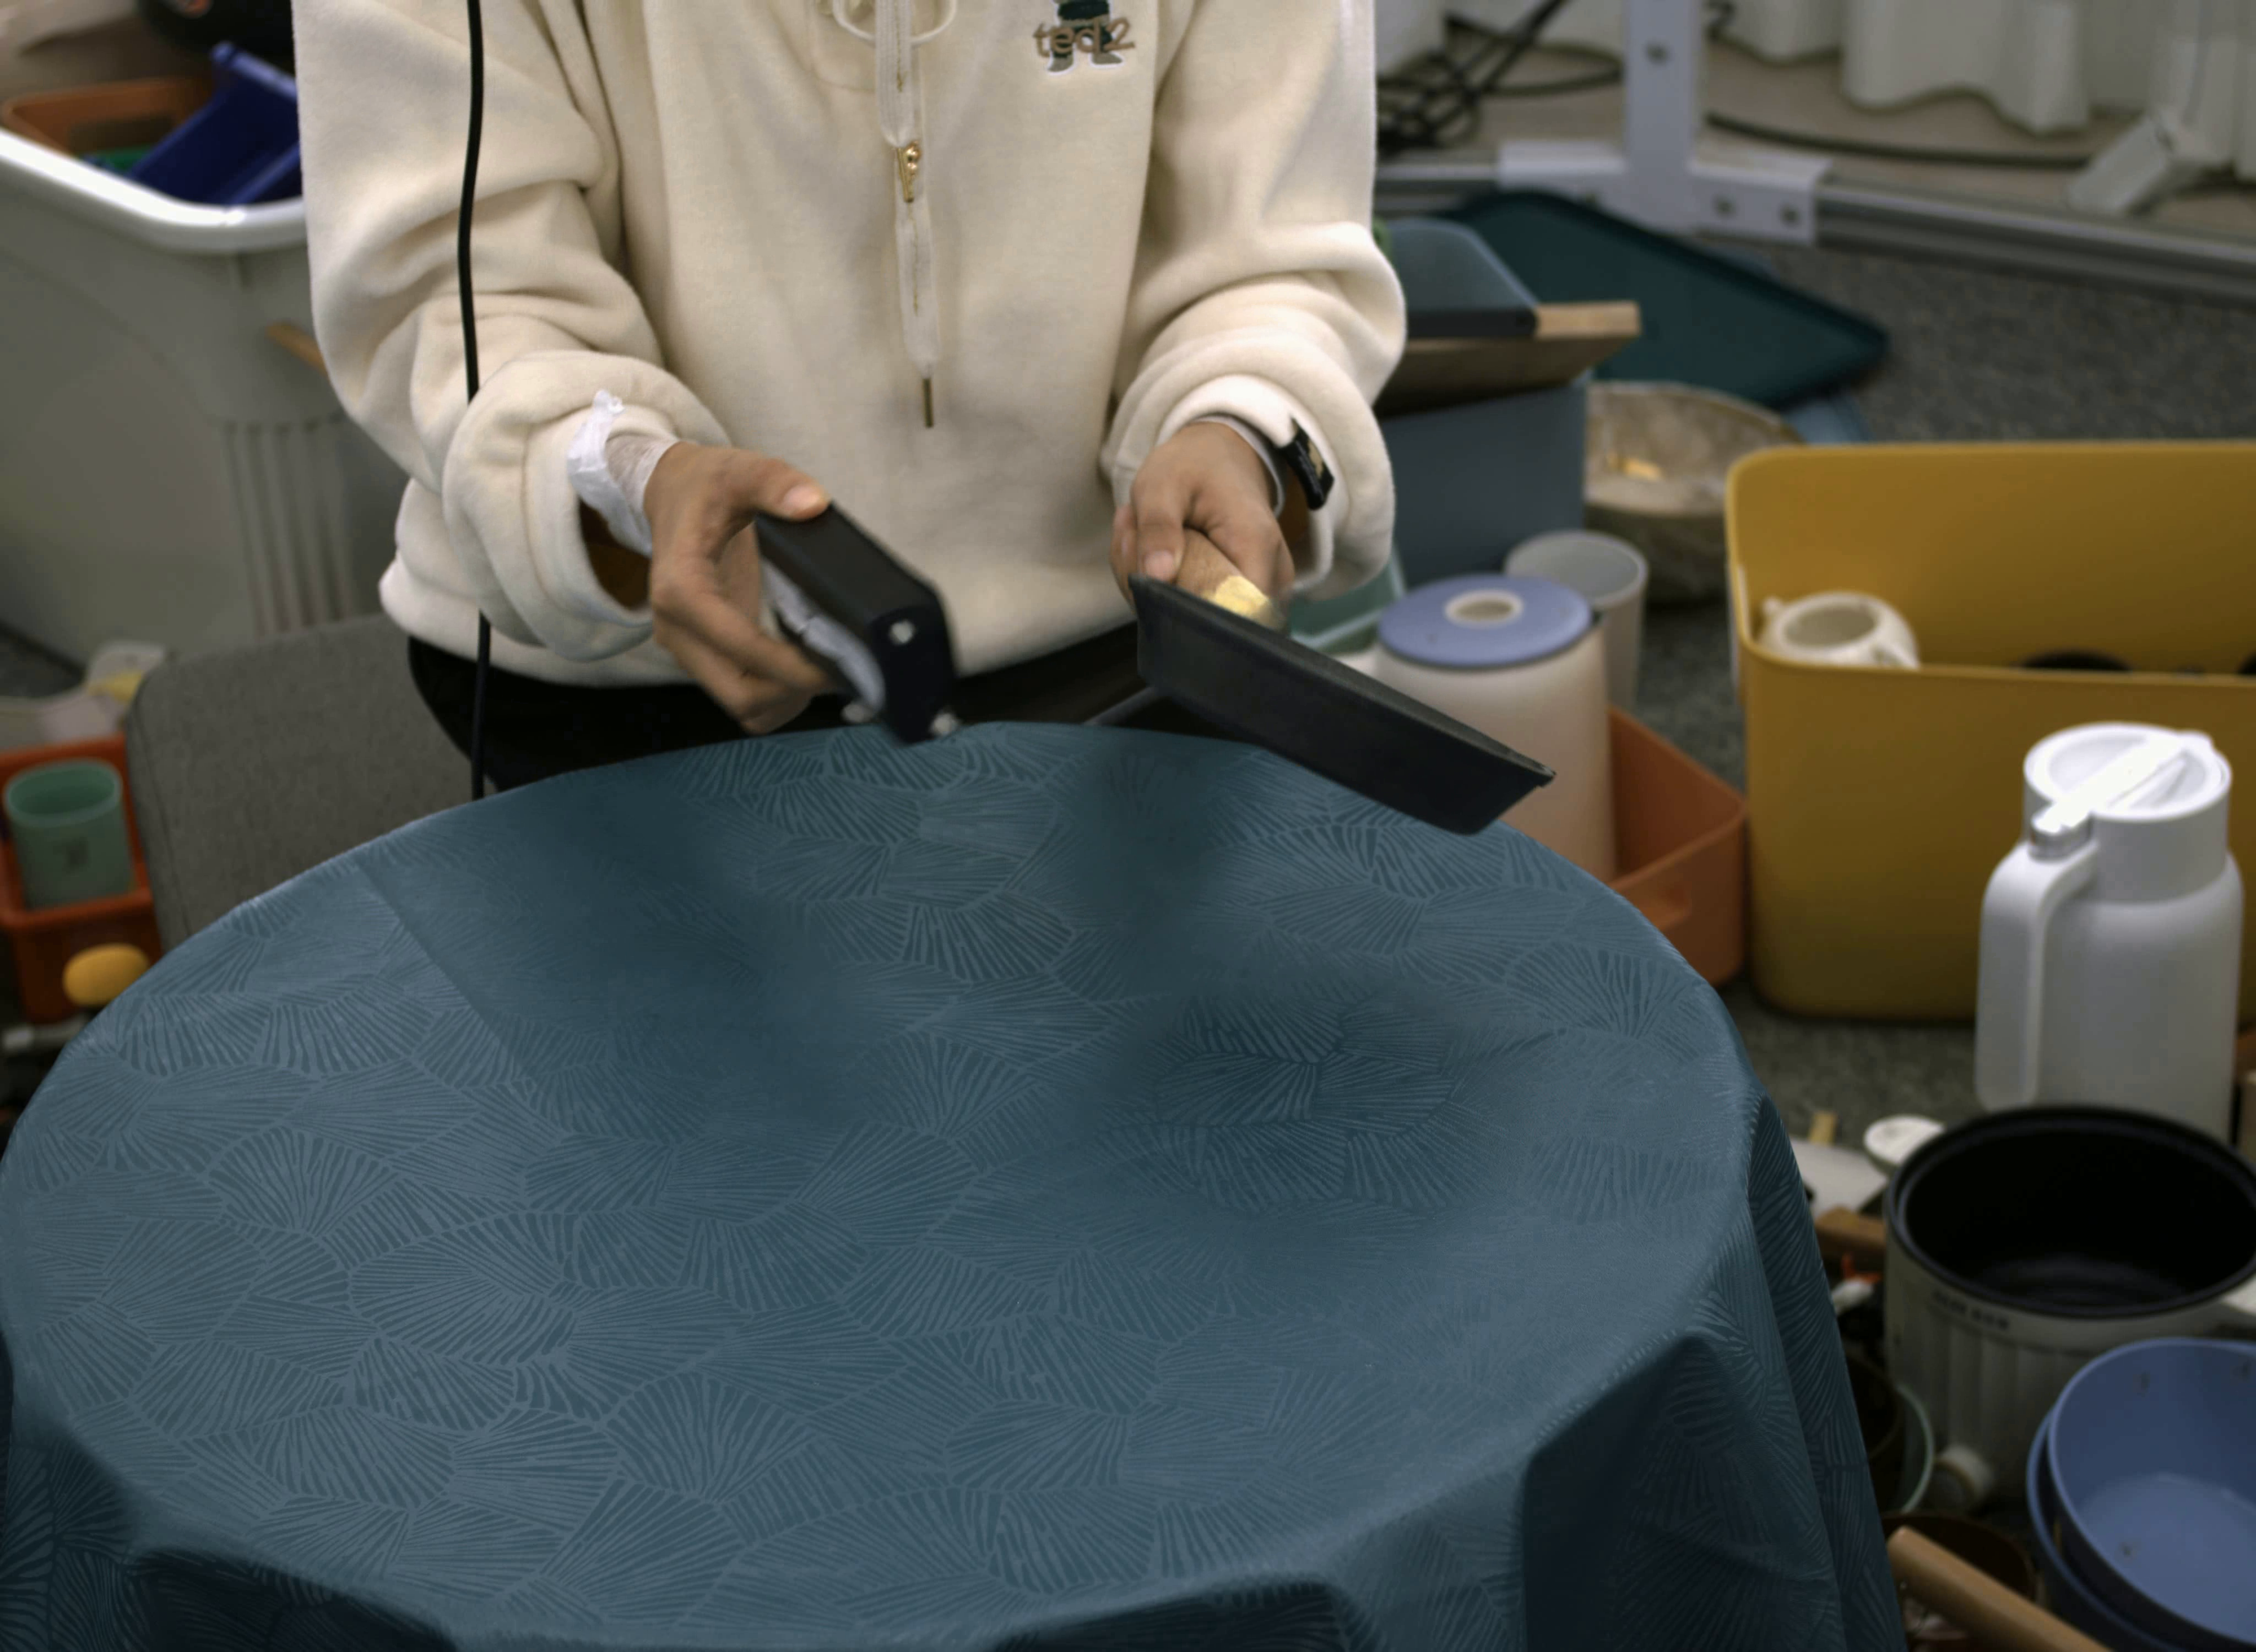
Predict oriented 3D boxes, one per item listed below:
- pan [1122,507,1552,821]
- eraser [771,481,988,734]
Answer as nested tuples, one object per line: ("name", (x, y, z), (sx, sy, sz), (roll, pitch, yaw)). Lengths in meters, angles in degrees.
("pan", (0.047, -0.066, 1.986), (0.168, 0.049, 0.325), (25, 5, -19))
("eraser", (-0.087, -0.078, 1.964), (0.030, 0.053, 0.126), (-19, 26, -18))
